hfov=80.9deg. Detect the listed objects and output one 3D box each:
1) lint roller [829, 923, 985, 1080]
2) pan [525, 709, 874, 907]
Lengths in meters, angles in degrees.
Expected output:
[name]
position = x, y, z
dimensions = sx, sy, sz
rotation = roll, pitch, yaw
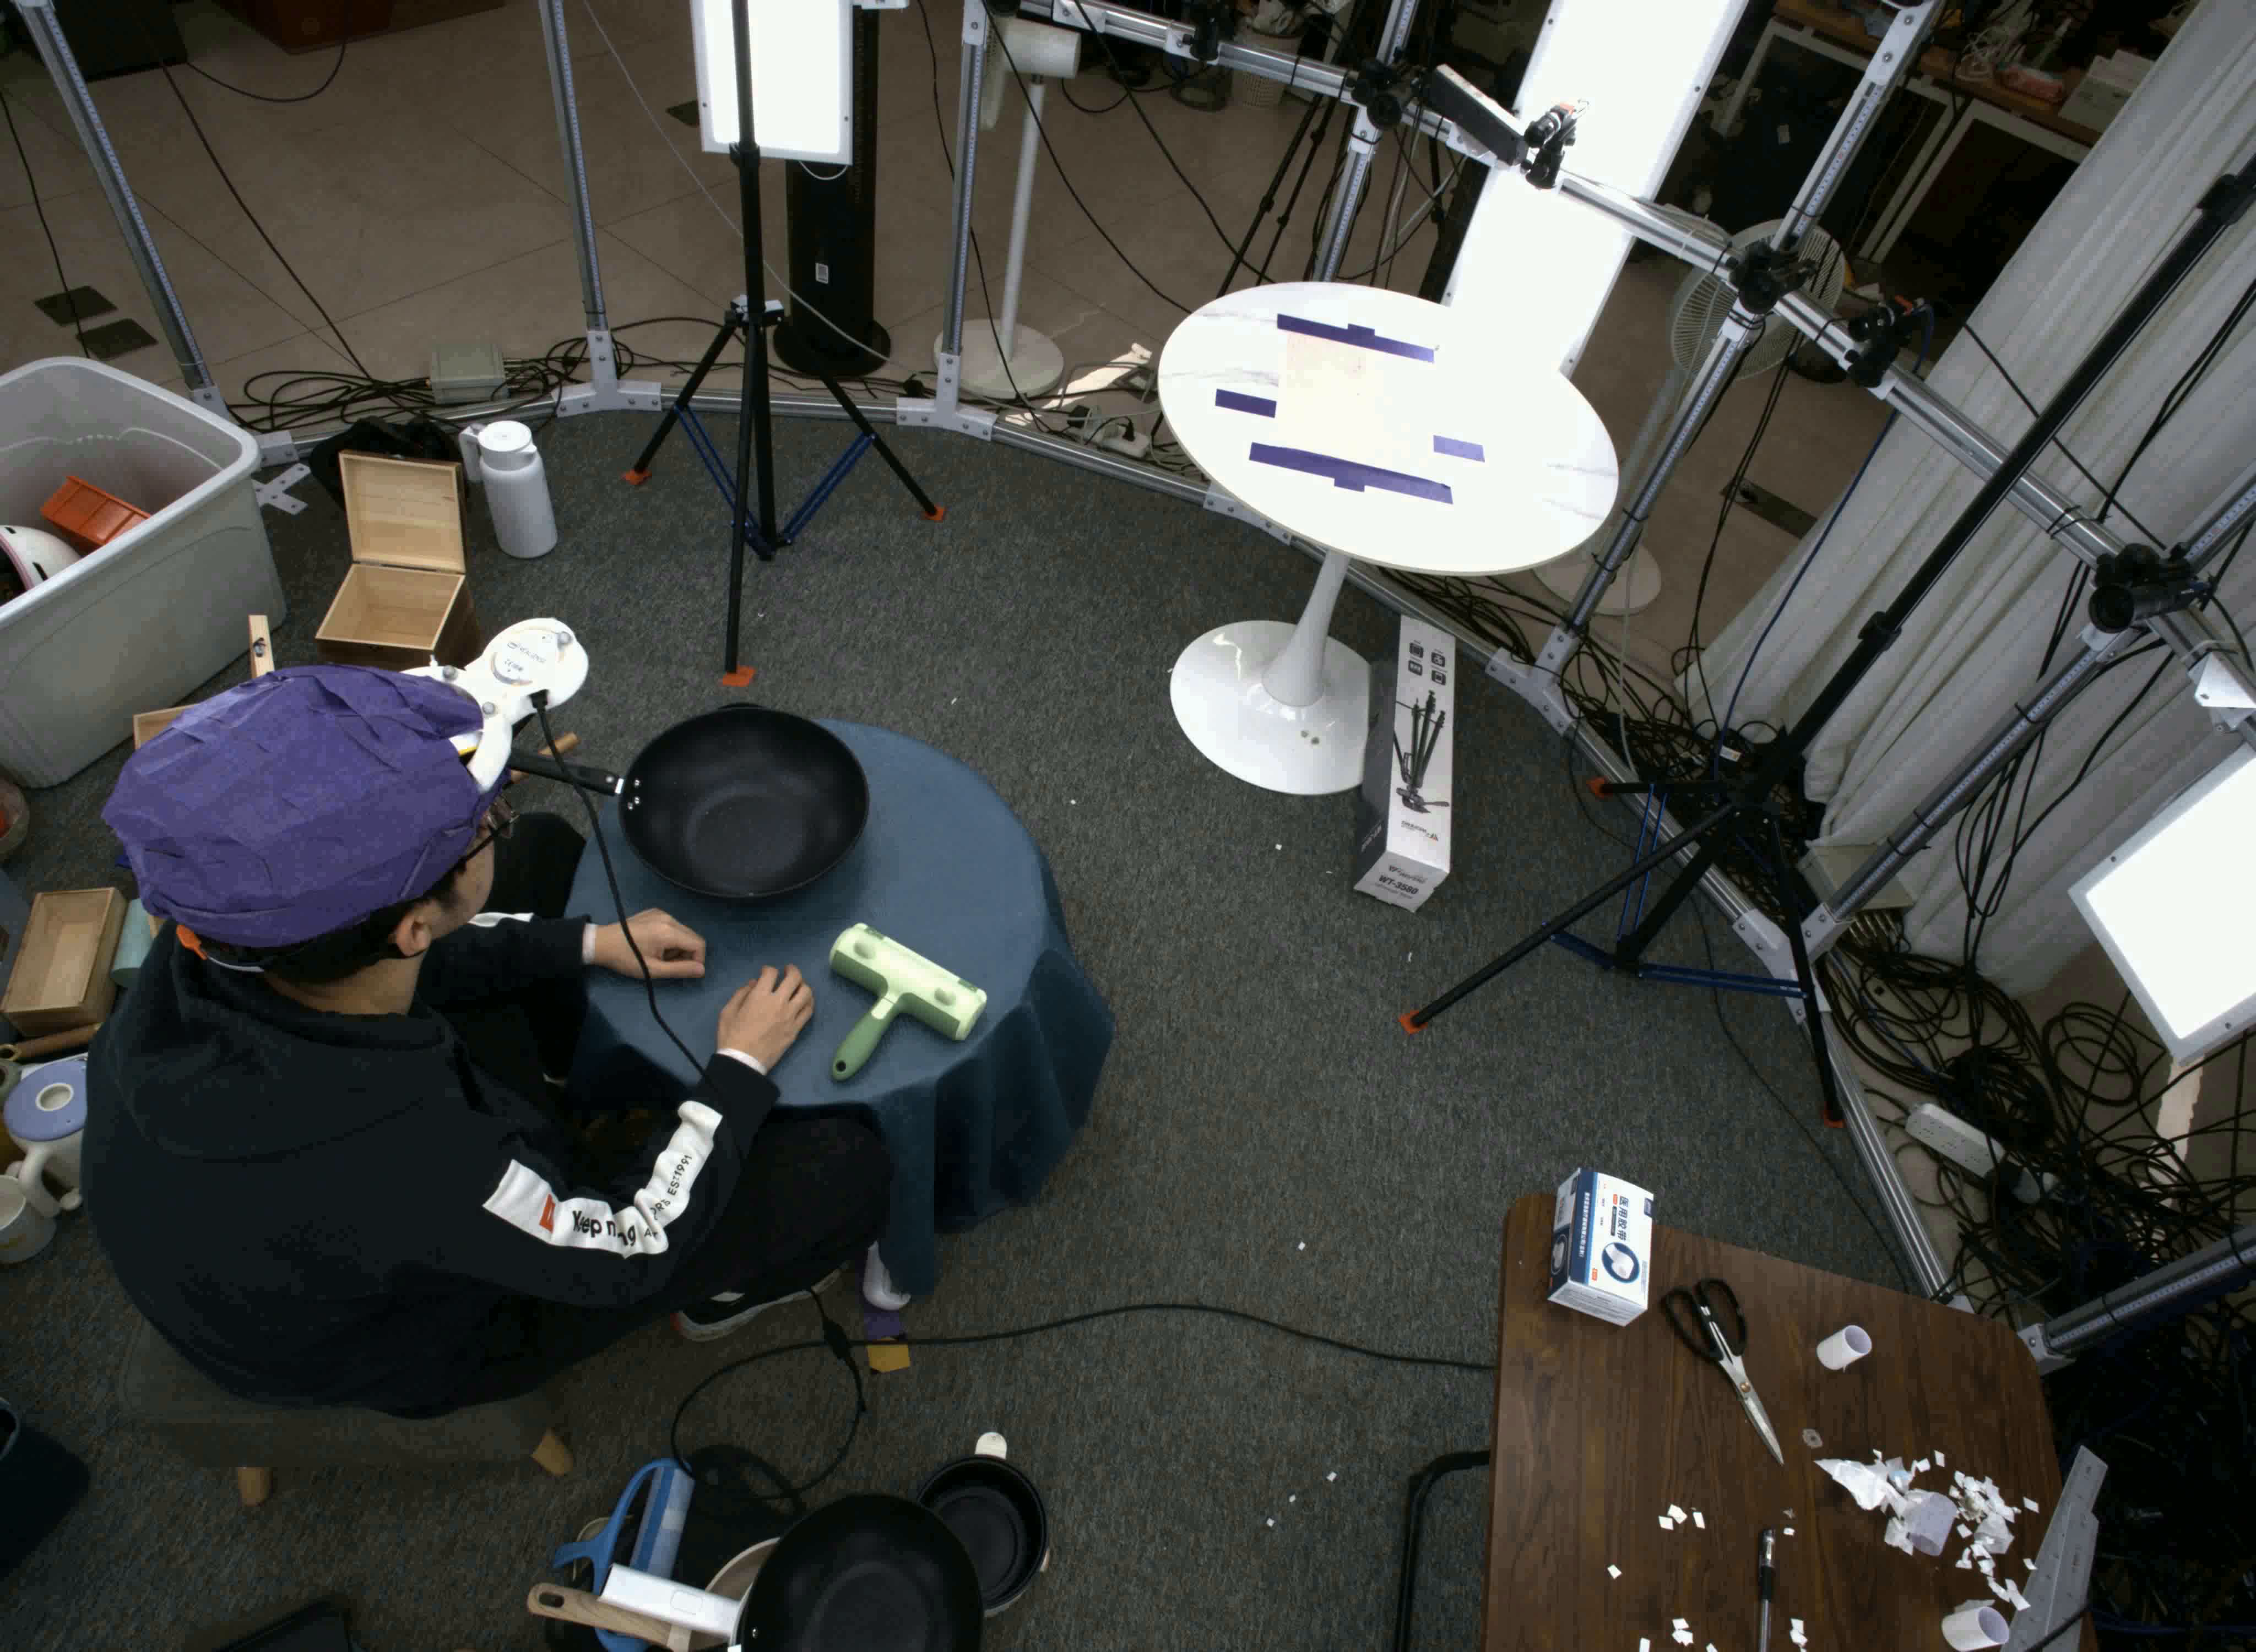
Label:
[lint roller]
position = -0.296, 0.217, 1.555
dimensions = 0.196, 0.084, 0.182
rotation = 29, 47, 7
[pan]
position = -0.564, -0.028, 1.645
dimensions = 0.476, 0.114, 0.304
rotation = 7, 51, -10
